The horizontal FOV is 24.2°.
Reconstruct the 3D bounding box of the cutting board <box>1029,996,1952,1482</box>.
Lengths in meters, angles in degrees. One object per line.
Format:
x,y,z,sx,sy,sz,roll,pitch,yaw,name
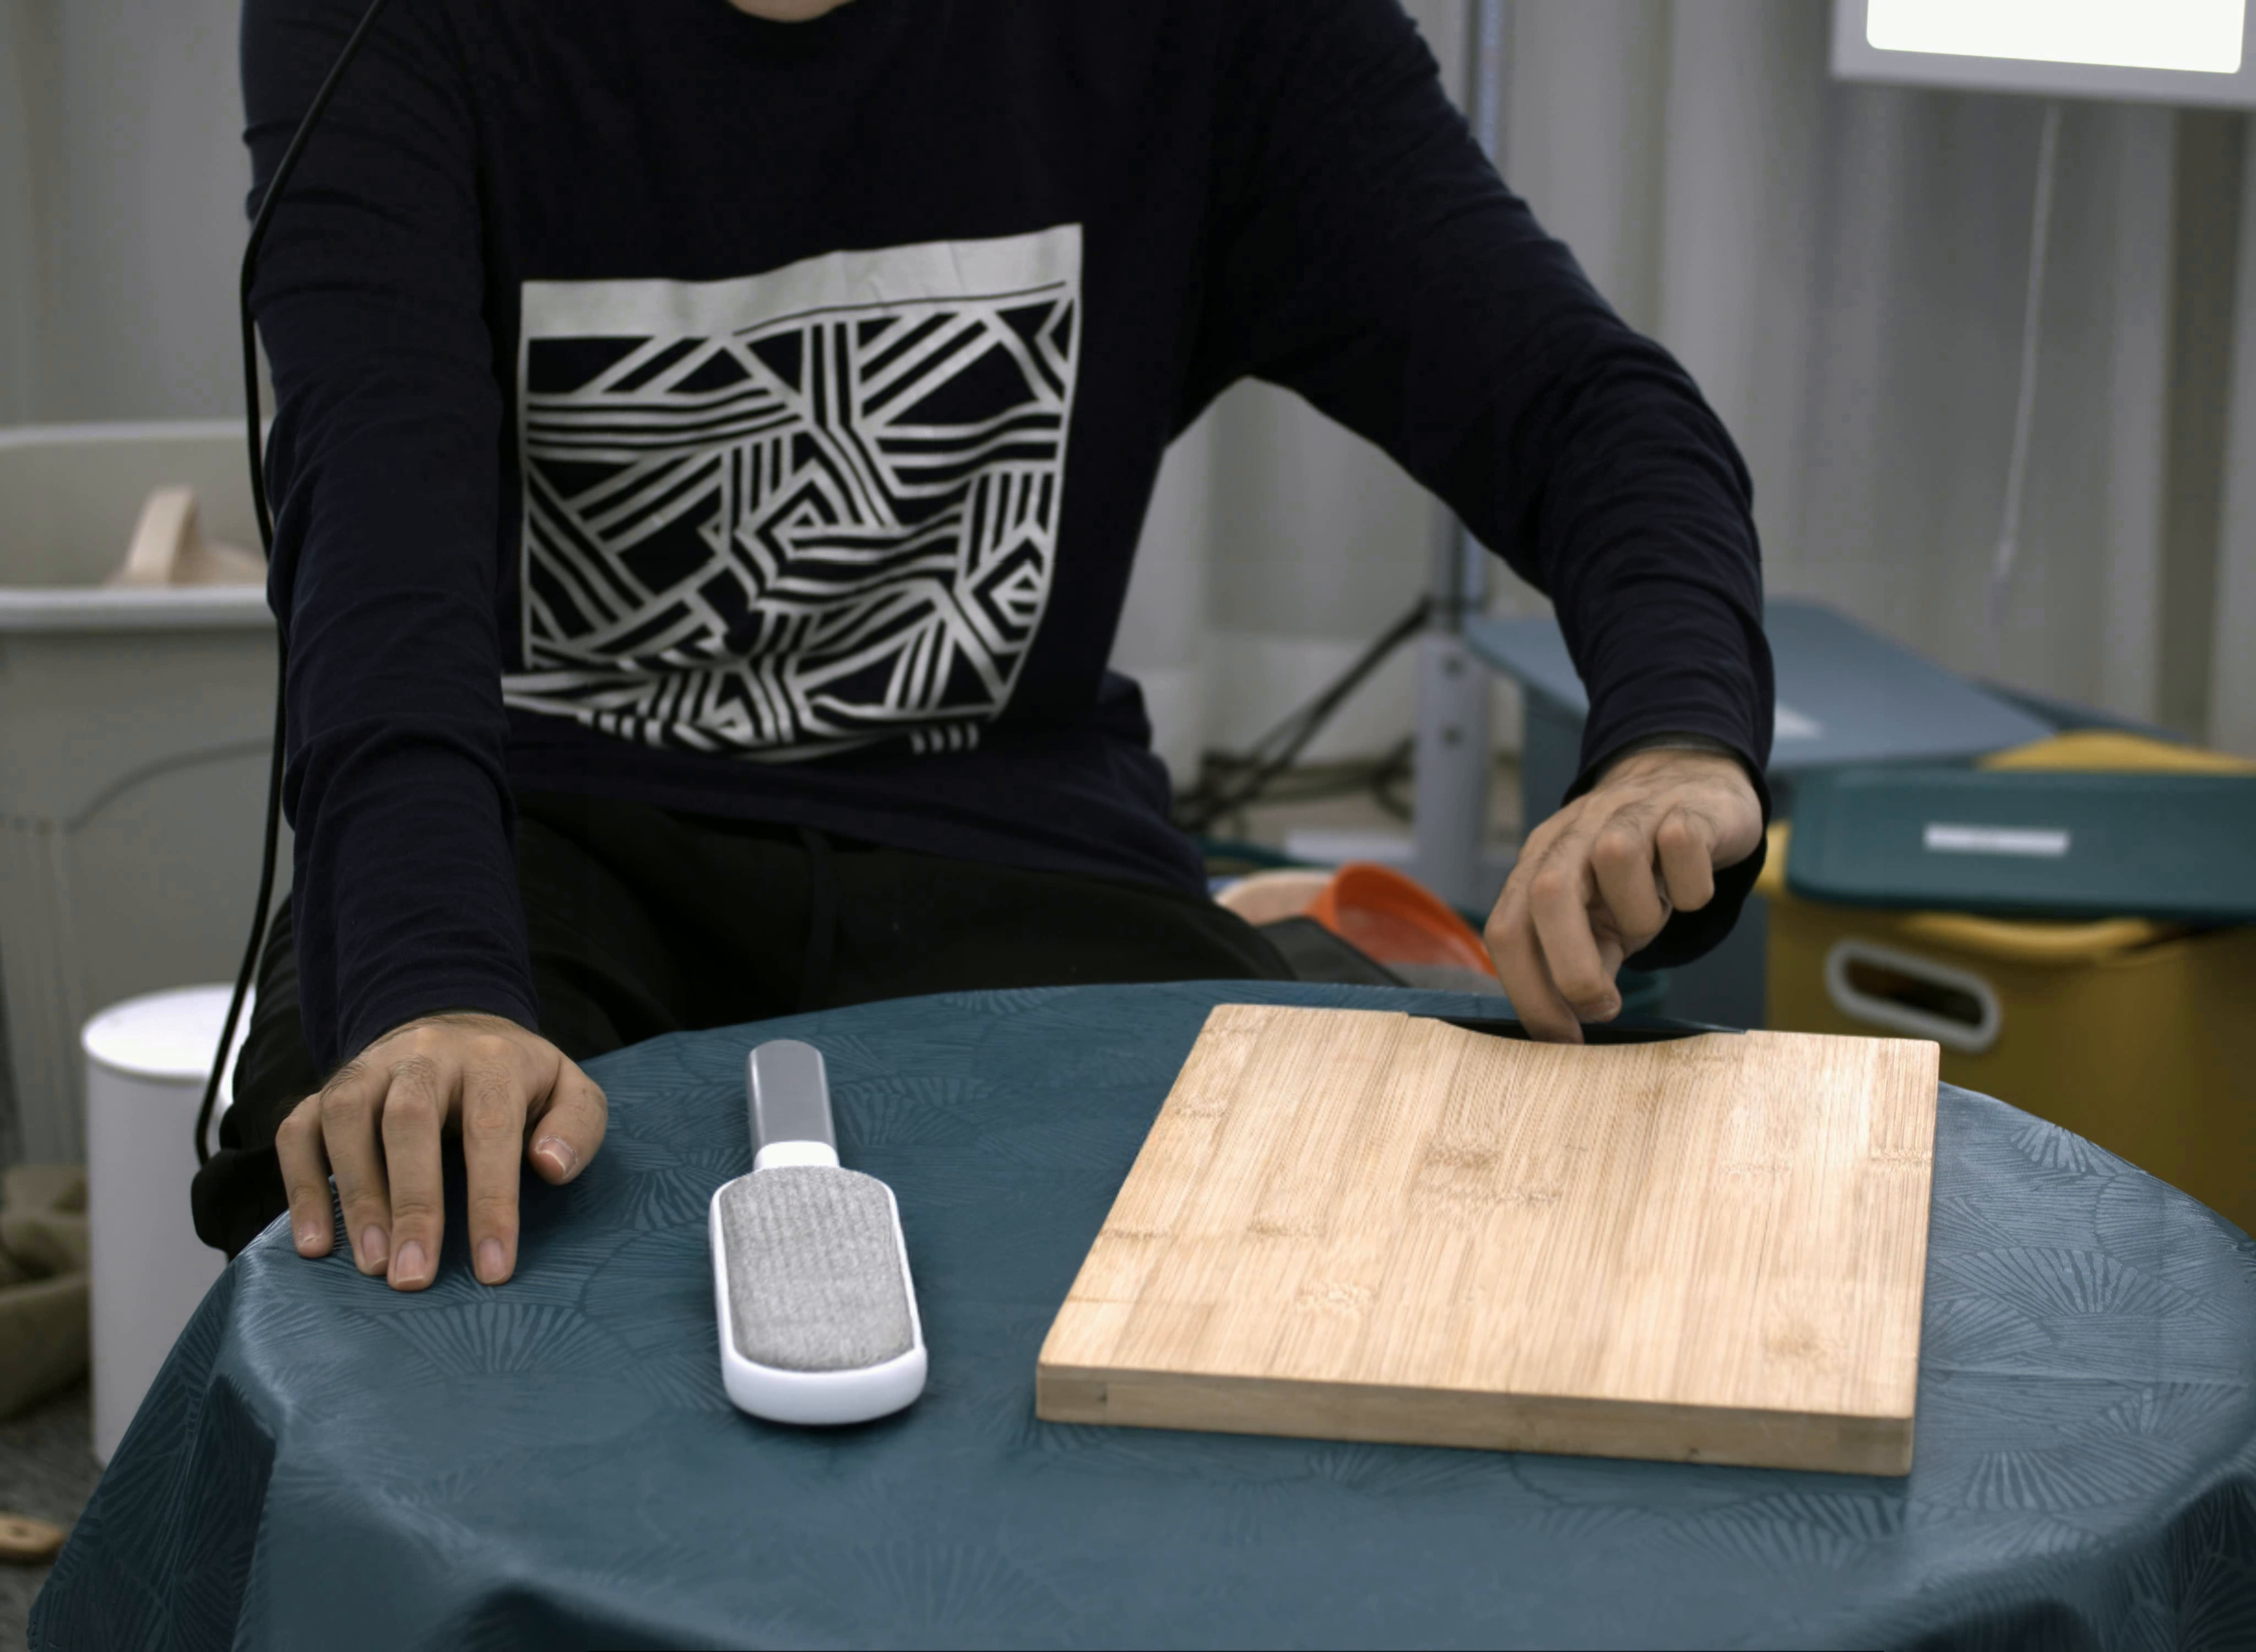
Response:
0.121,0.116,1.586,0.249,0.024,0.348,3,16,8,cutting board

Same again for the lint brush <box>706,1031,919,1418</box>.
-0.096,0.114,1.566,0.060,0.021,0.307,-6,16,-4,lint brush
